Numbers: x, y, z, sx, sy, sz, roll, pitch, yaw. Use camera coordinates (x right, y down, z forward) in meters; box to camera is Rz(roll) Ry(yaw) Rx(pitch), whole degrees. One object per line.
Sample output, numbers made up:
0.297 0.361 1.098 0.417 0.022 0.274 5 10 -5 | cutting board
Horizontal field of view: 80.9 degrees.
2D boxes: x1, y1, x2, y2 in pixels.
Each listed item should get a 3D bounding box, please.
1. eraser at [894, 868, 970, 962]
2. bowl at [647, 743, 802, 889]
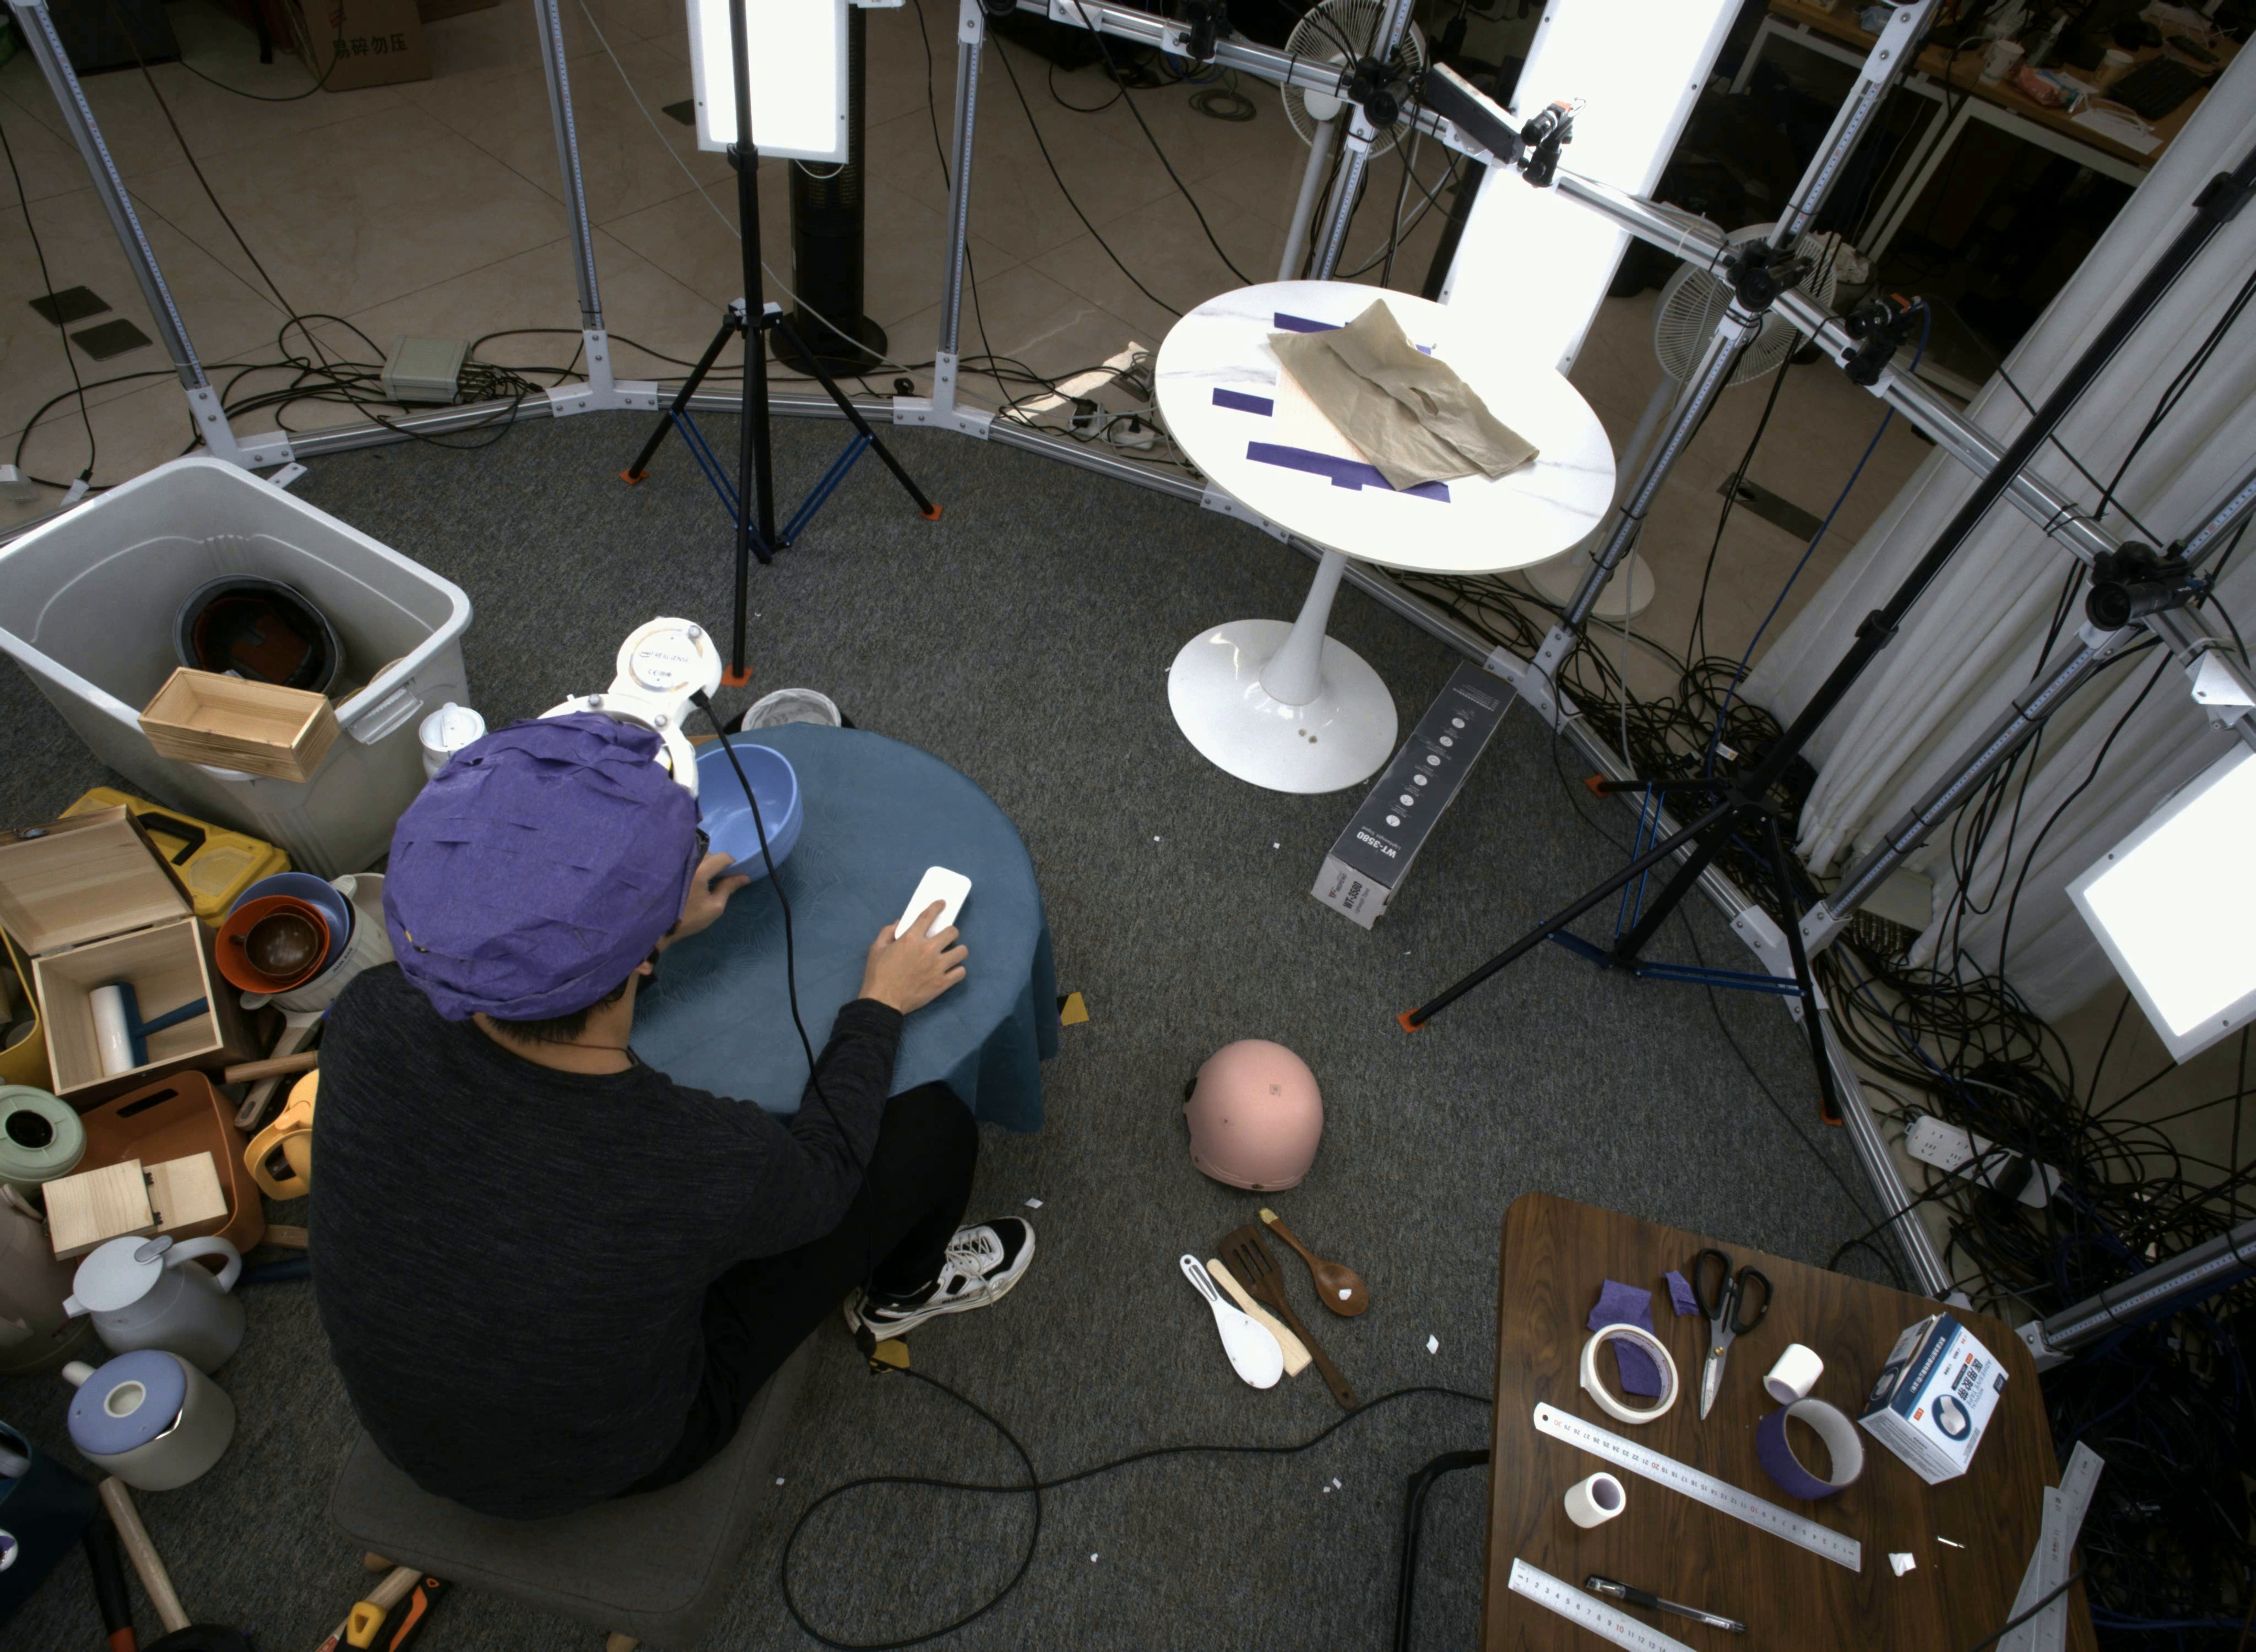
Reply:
-0.251 0.109 1.663 0.063 0.035 0.130 21 50 2 | eraser
-0.493 0.002 1.623 0.193 0.098 0.193 -4 56 7 | bowl
